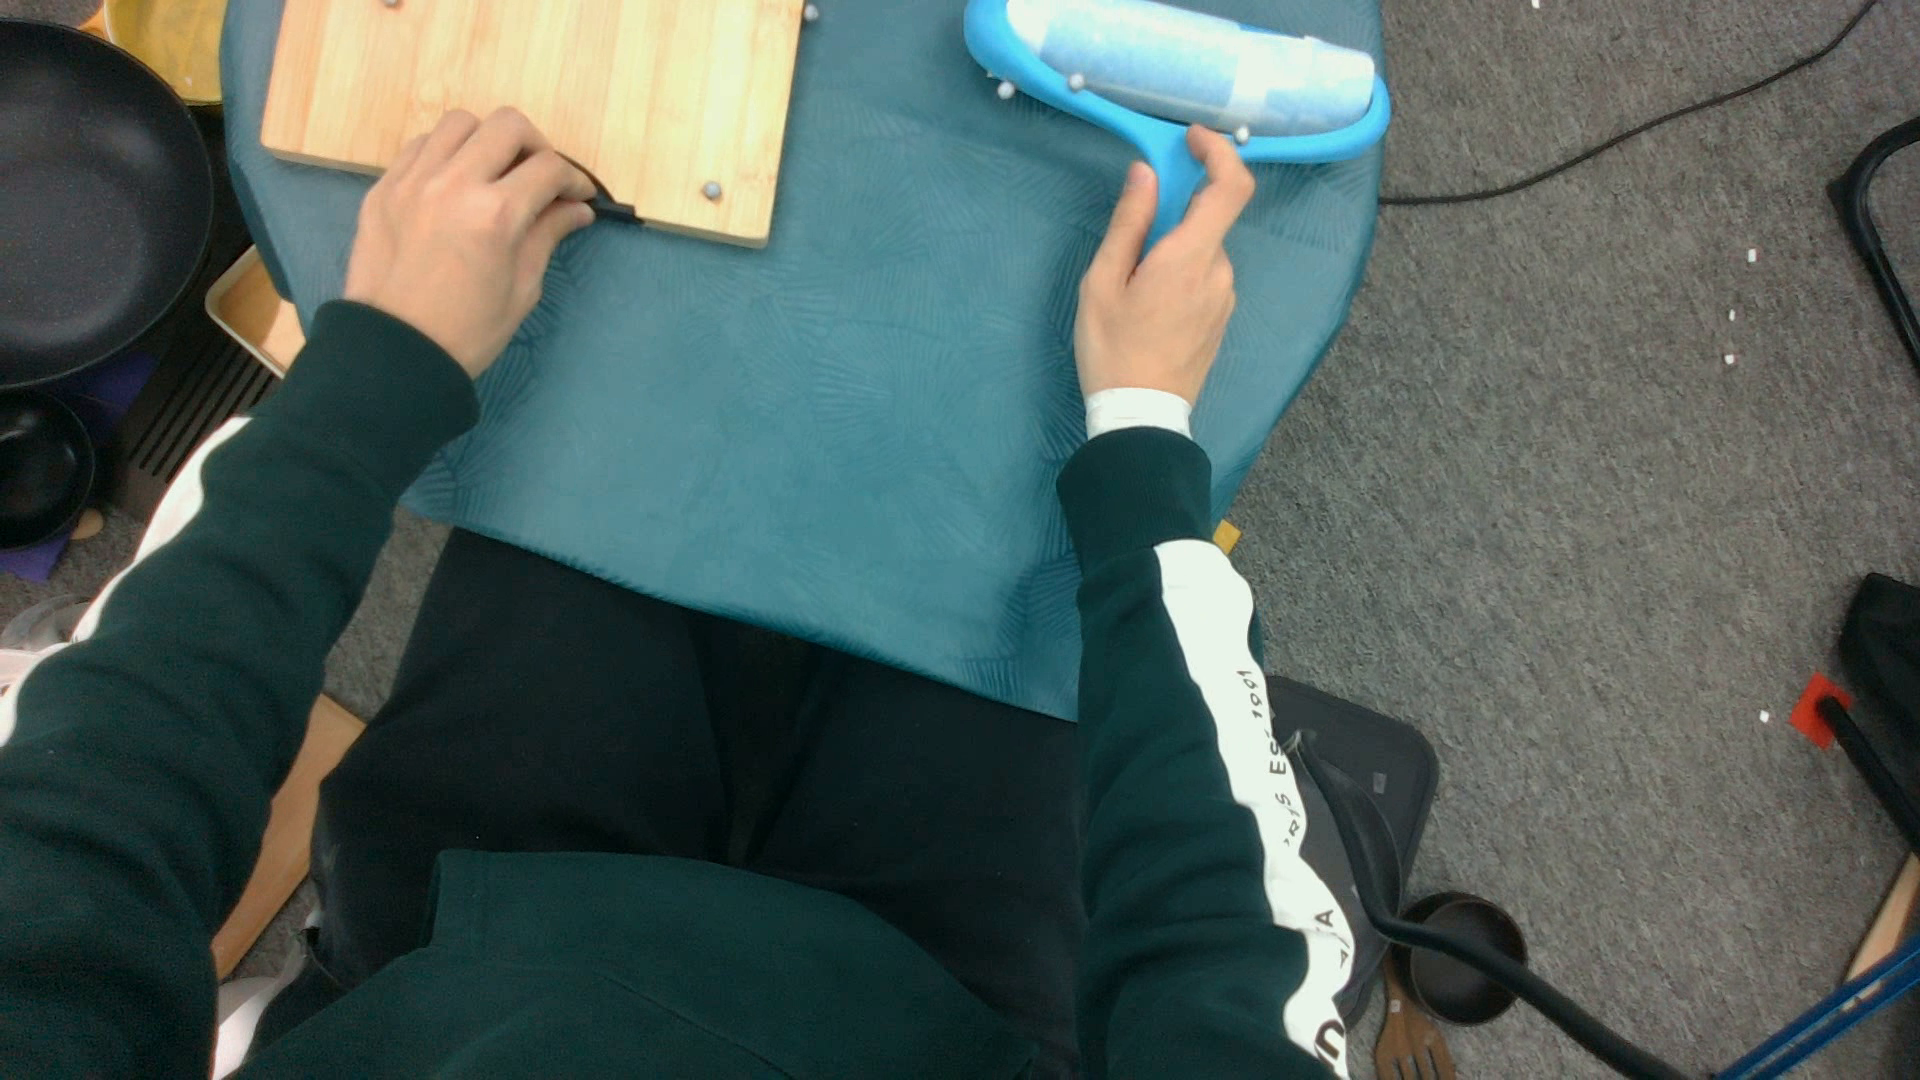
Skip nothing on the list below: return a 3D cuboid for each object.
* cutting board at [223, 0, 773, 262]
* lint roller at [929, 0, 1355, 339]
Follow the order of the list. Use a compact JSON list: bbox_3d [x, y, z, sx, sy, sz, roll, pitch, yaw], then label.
[{"bbox_3d":[-0.211,-0.326,0.692,0.251,0.023,0.349,6,84,-9],"label":"cutting board"},{"bbox_3d":[0.093,-0.198,0.715,0.229,0.068,0.180,5,84,-11],"label":"lint roller"}]
